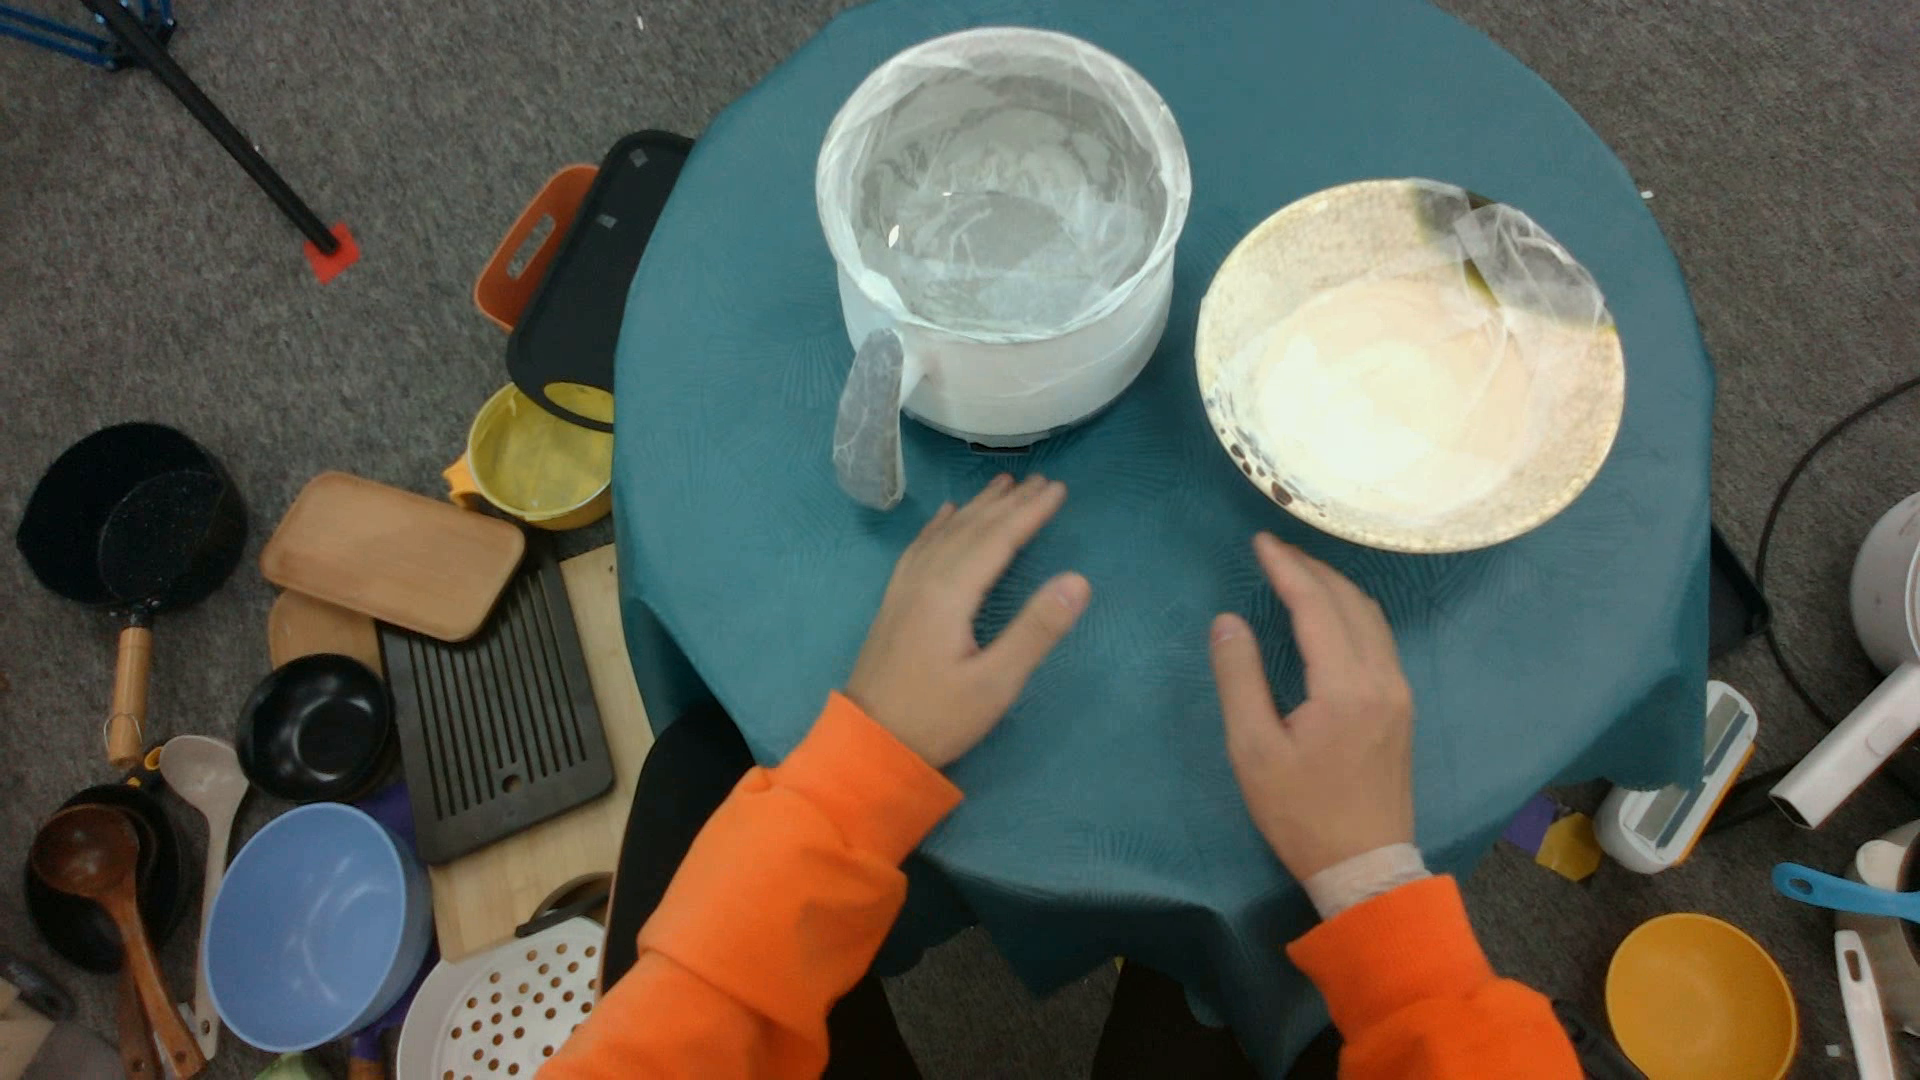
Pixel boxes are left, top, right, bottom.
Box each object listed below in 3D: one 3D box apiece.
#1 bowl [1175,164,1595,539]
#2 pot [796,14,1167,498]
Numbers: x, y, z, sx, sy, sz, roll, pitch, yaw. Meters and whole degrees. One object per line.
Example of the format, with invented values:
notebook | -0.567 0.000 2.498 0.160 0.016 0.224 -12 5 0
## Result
bowl | 0.209 -0.086 0.711 0.204 0.078 0.204 -1 71 2
pot | -0.002 -0.133 0.702 0.178 0.136 0.234 28 72 12
